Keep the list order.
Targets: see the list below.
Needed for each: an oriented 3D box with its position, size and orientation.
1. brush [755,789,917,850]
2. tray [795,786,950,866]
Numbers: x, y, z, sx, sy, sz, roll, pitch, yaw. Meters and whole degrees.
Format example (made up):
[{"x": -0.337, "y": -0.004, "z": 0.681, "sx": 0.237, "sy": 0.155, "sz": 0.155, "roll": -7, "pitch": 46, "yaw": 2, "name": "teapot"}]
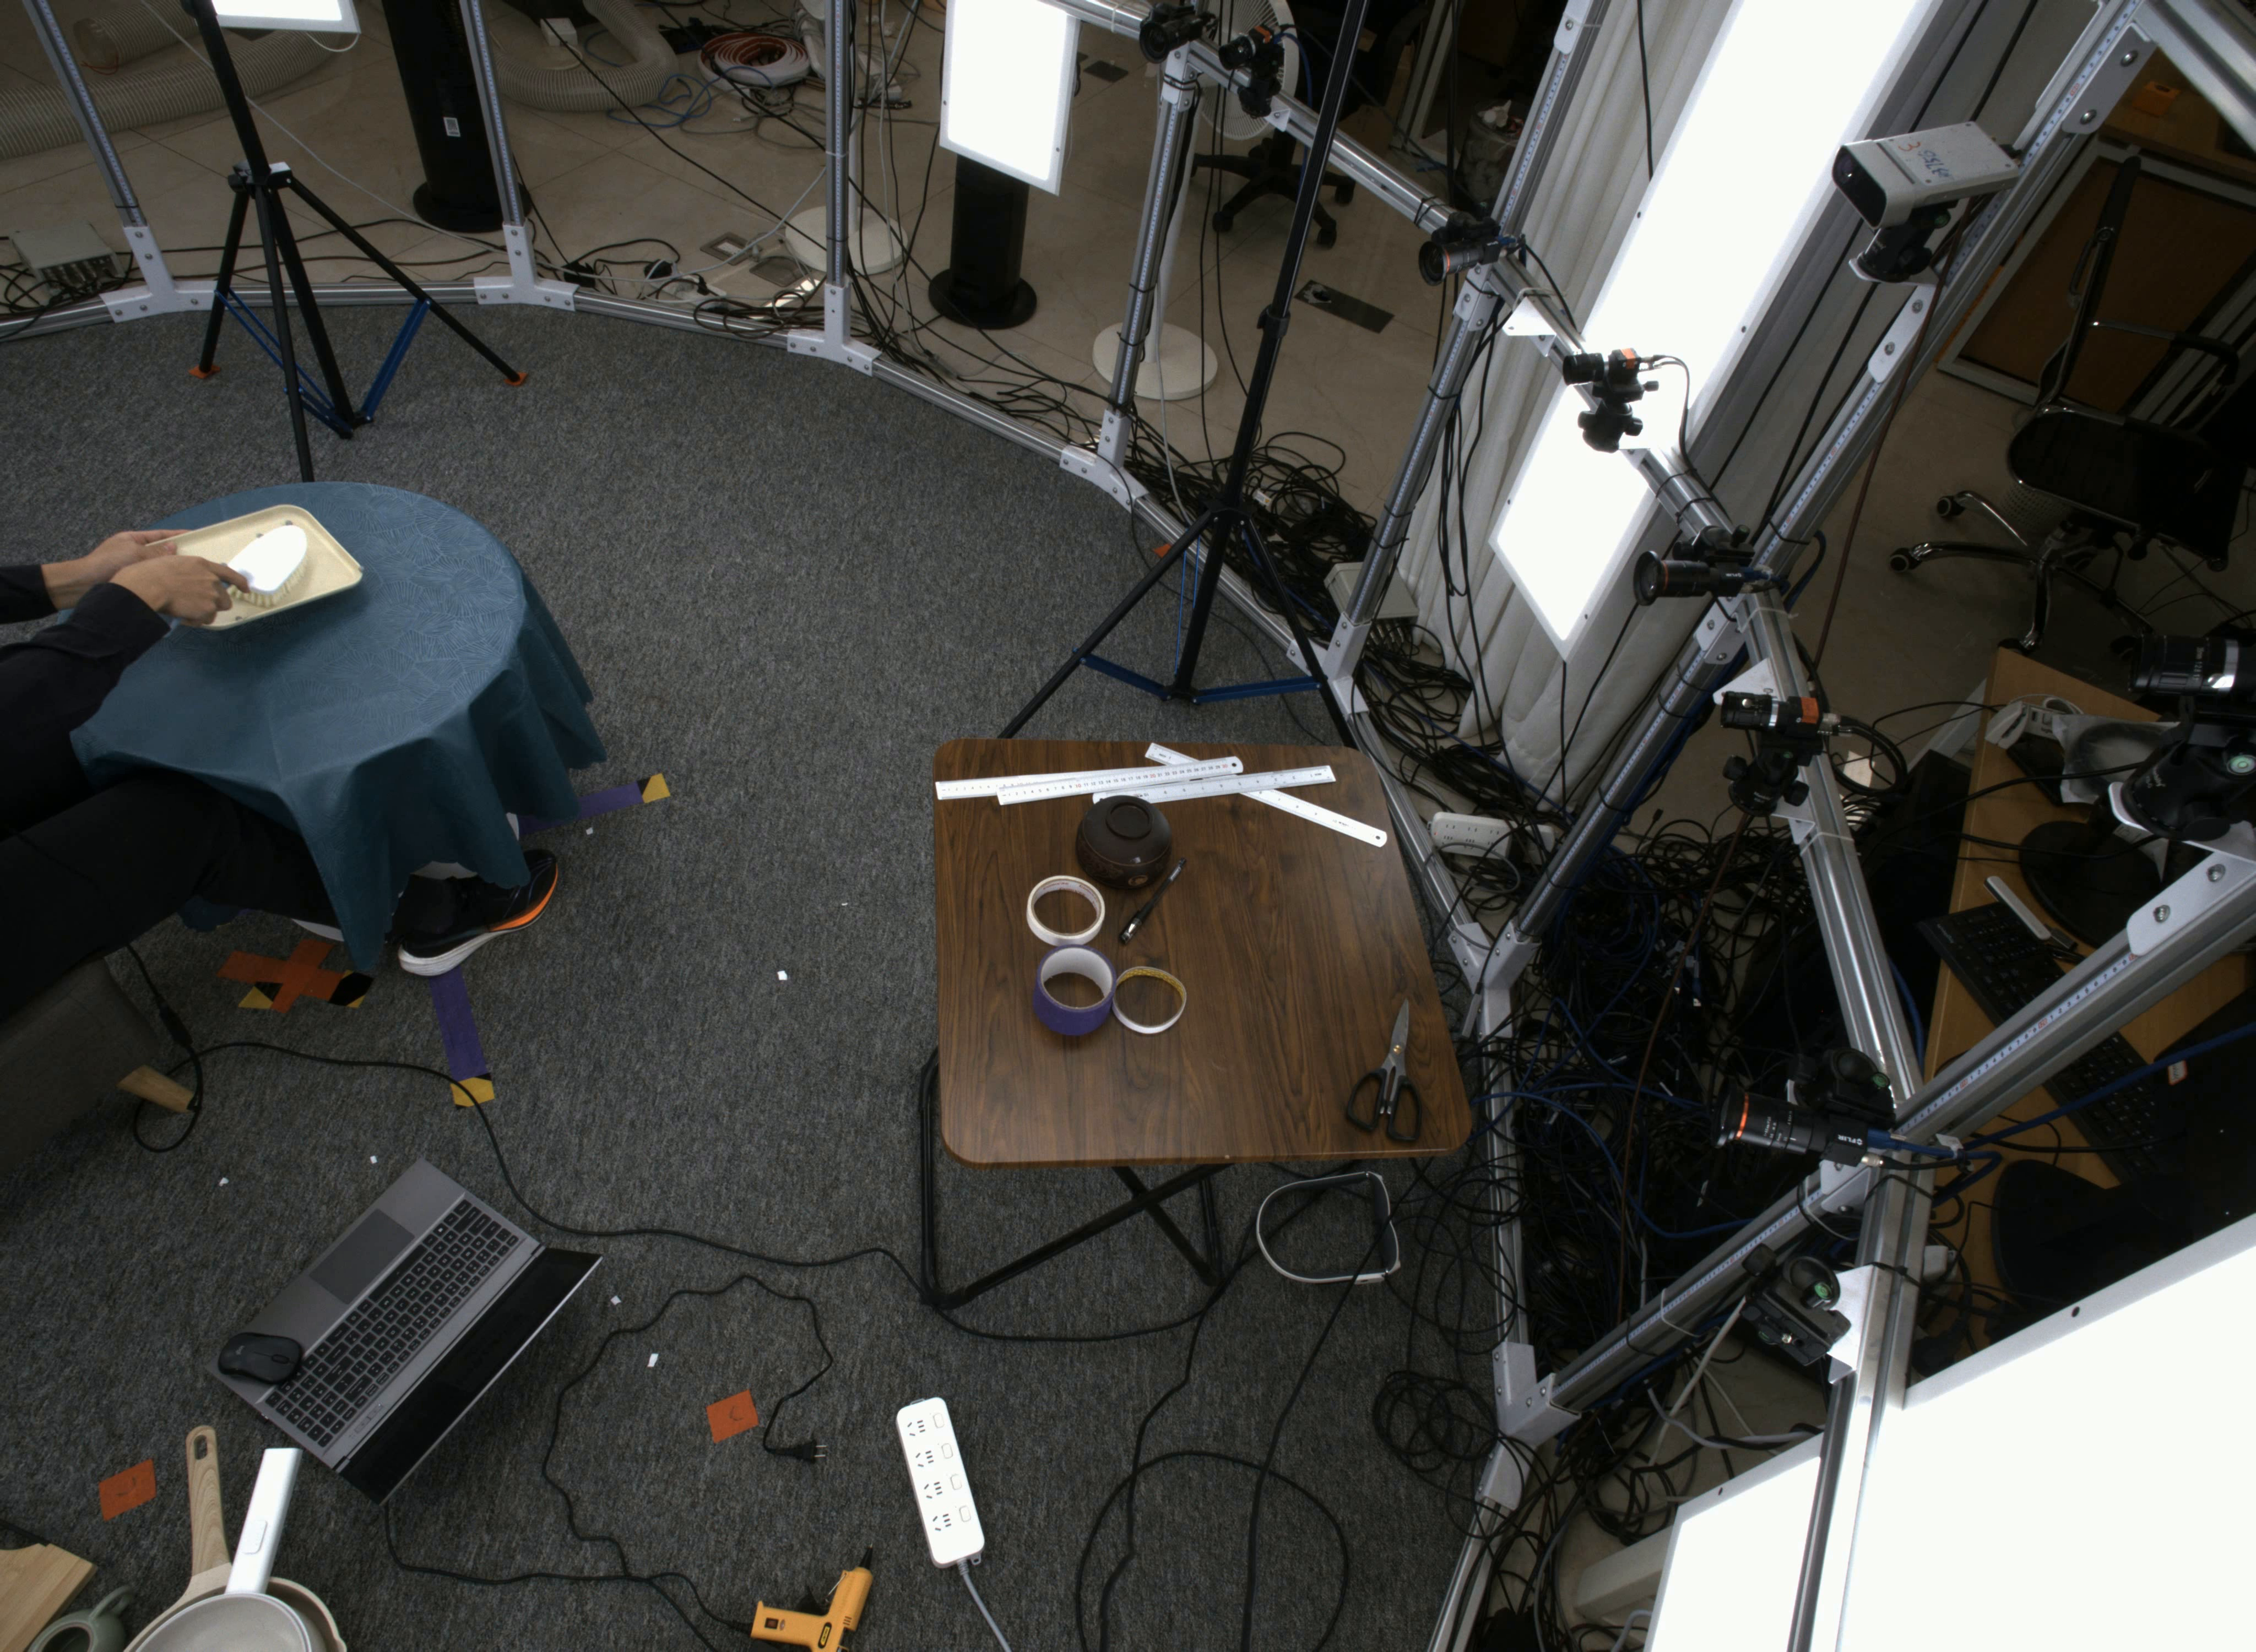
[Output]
[{"x": -0.448, "y": -0.007, "z": 1.969, "sx": 0.080, "sy": 0.085, "sz": 0.332, "roll": -3, "pitch": -3, "yaw": 32, "name": "brush"}, {"x": -0.408, "y": 0.001, "z": 2.068, "sx": 0.243, "sy": 0.018, "sz": 0.165, "roll": 9, "pitch": 33, "yaw": -28, "name": "tray"}]
